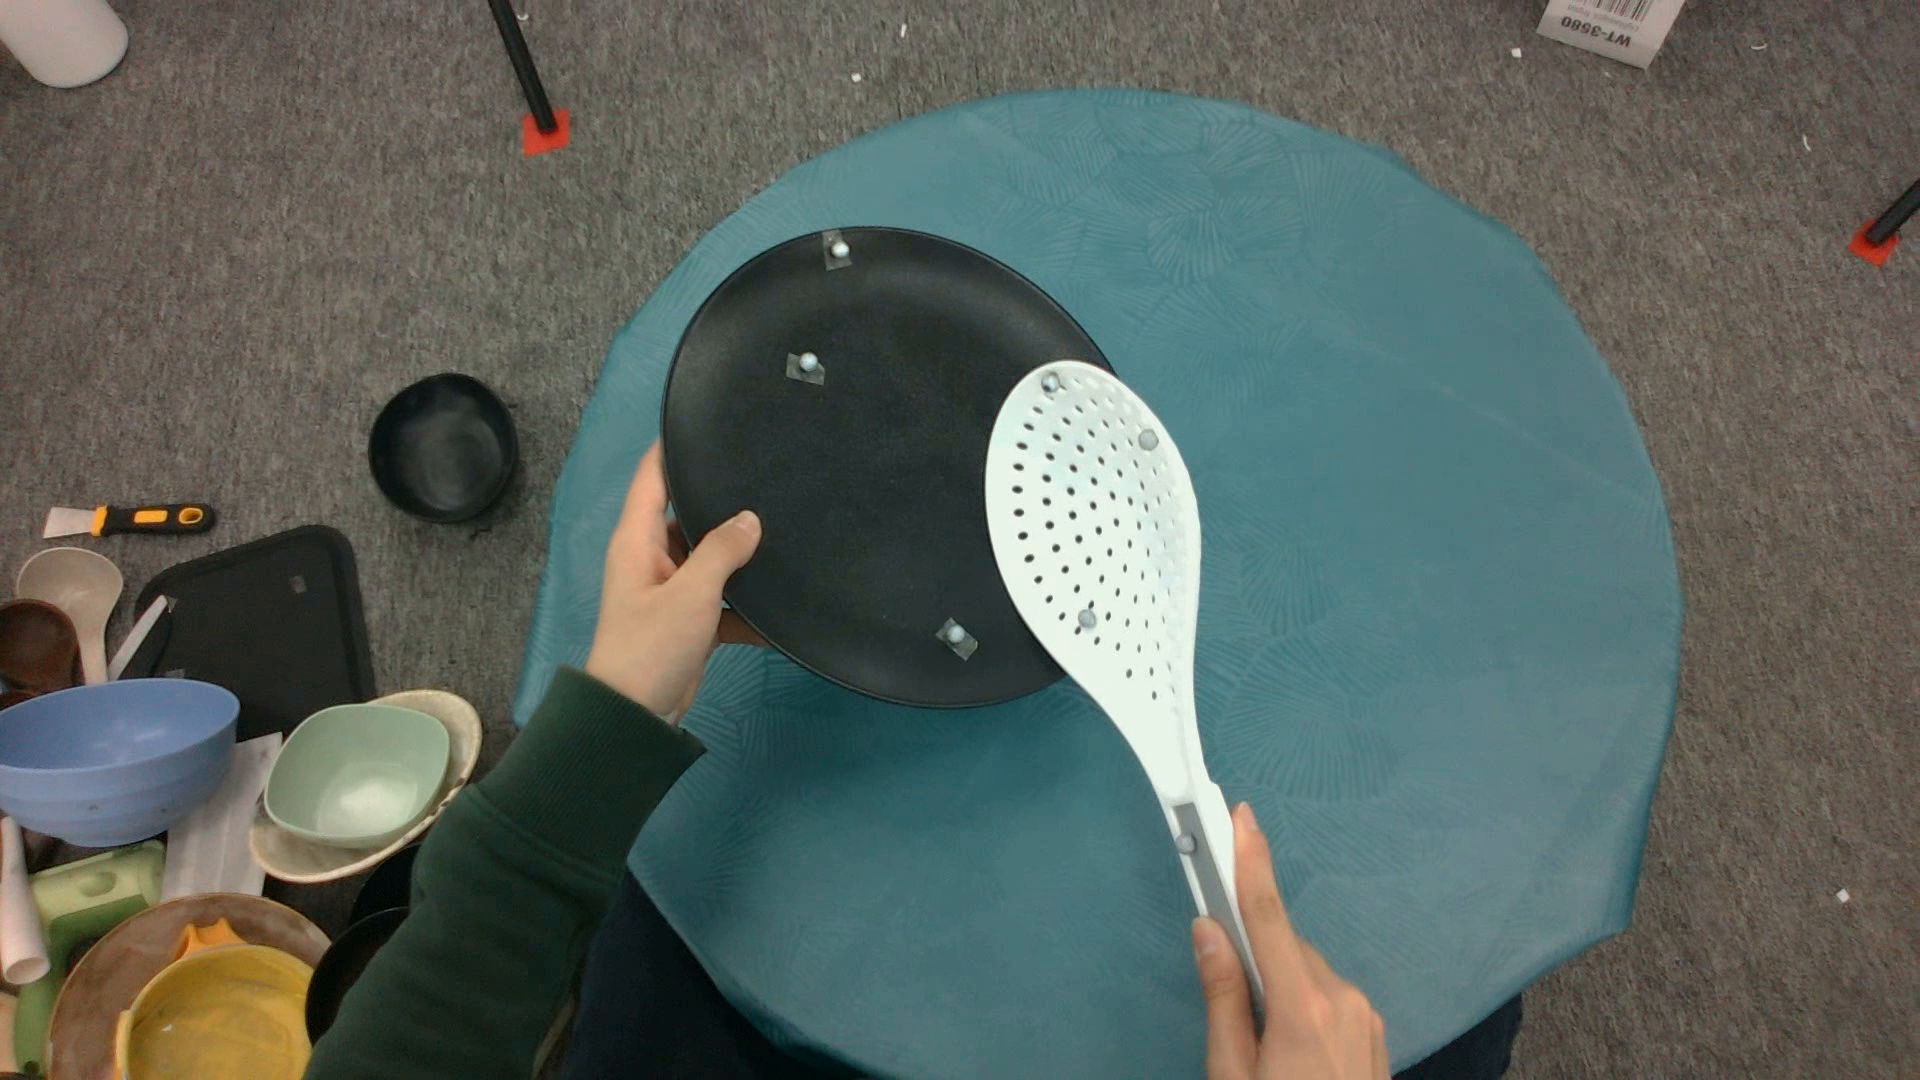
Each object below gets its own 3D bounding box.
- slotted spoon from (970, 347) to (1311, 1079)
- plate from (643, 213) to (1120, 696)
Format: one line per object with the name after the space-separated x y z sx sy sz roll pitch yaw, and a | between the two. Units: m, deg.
0.084 0.085 0.575 0.046 0.135 0.350 -8 78 -31 | slotted spoon
-0.027 -0.043 0.645 0.245 0.023 0.245 9 65 -21 | plate
